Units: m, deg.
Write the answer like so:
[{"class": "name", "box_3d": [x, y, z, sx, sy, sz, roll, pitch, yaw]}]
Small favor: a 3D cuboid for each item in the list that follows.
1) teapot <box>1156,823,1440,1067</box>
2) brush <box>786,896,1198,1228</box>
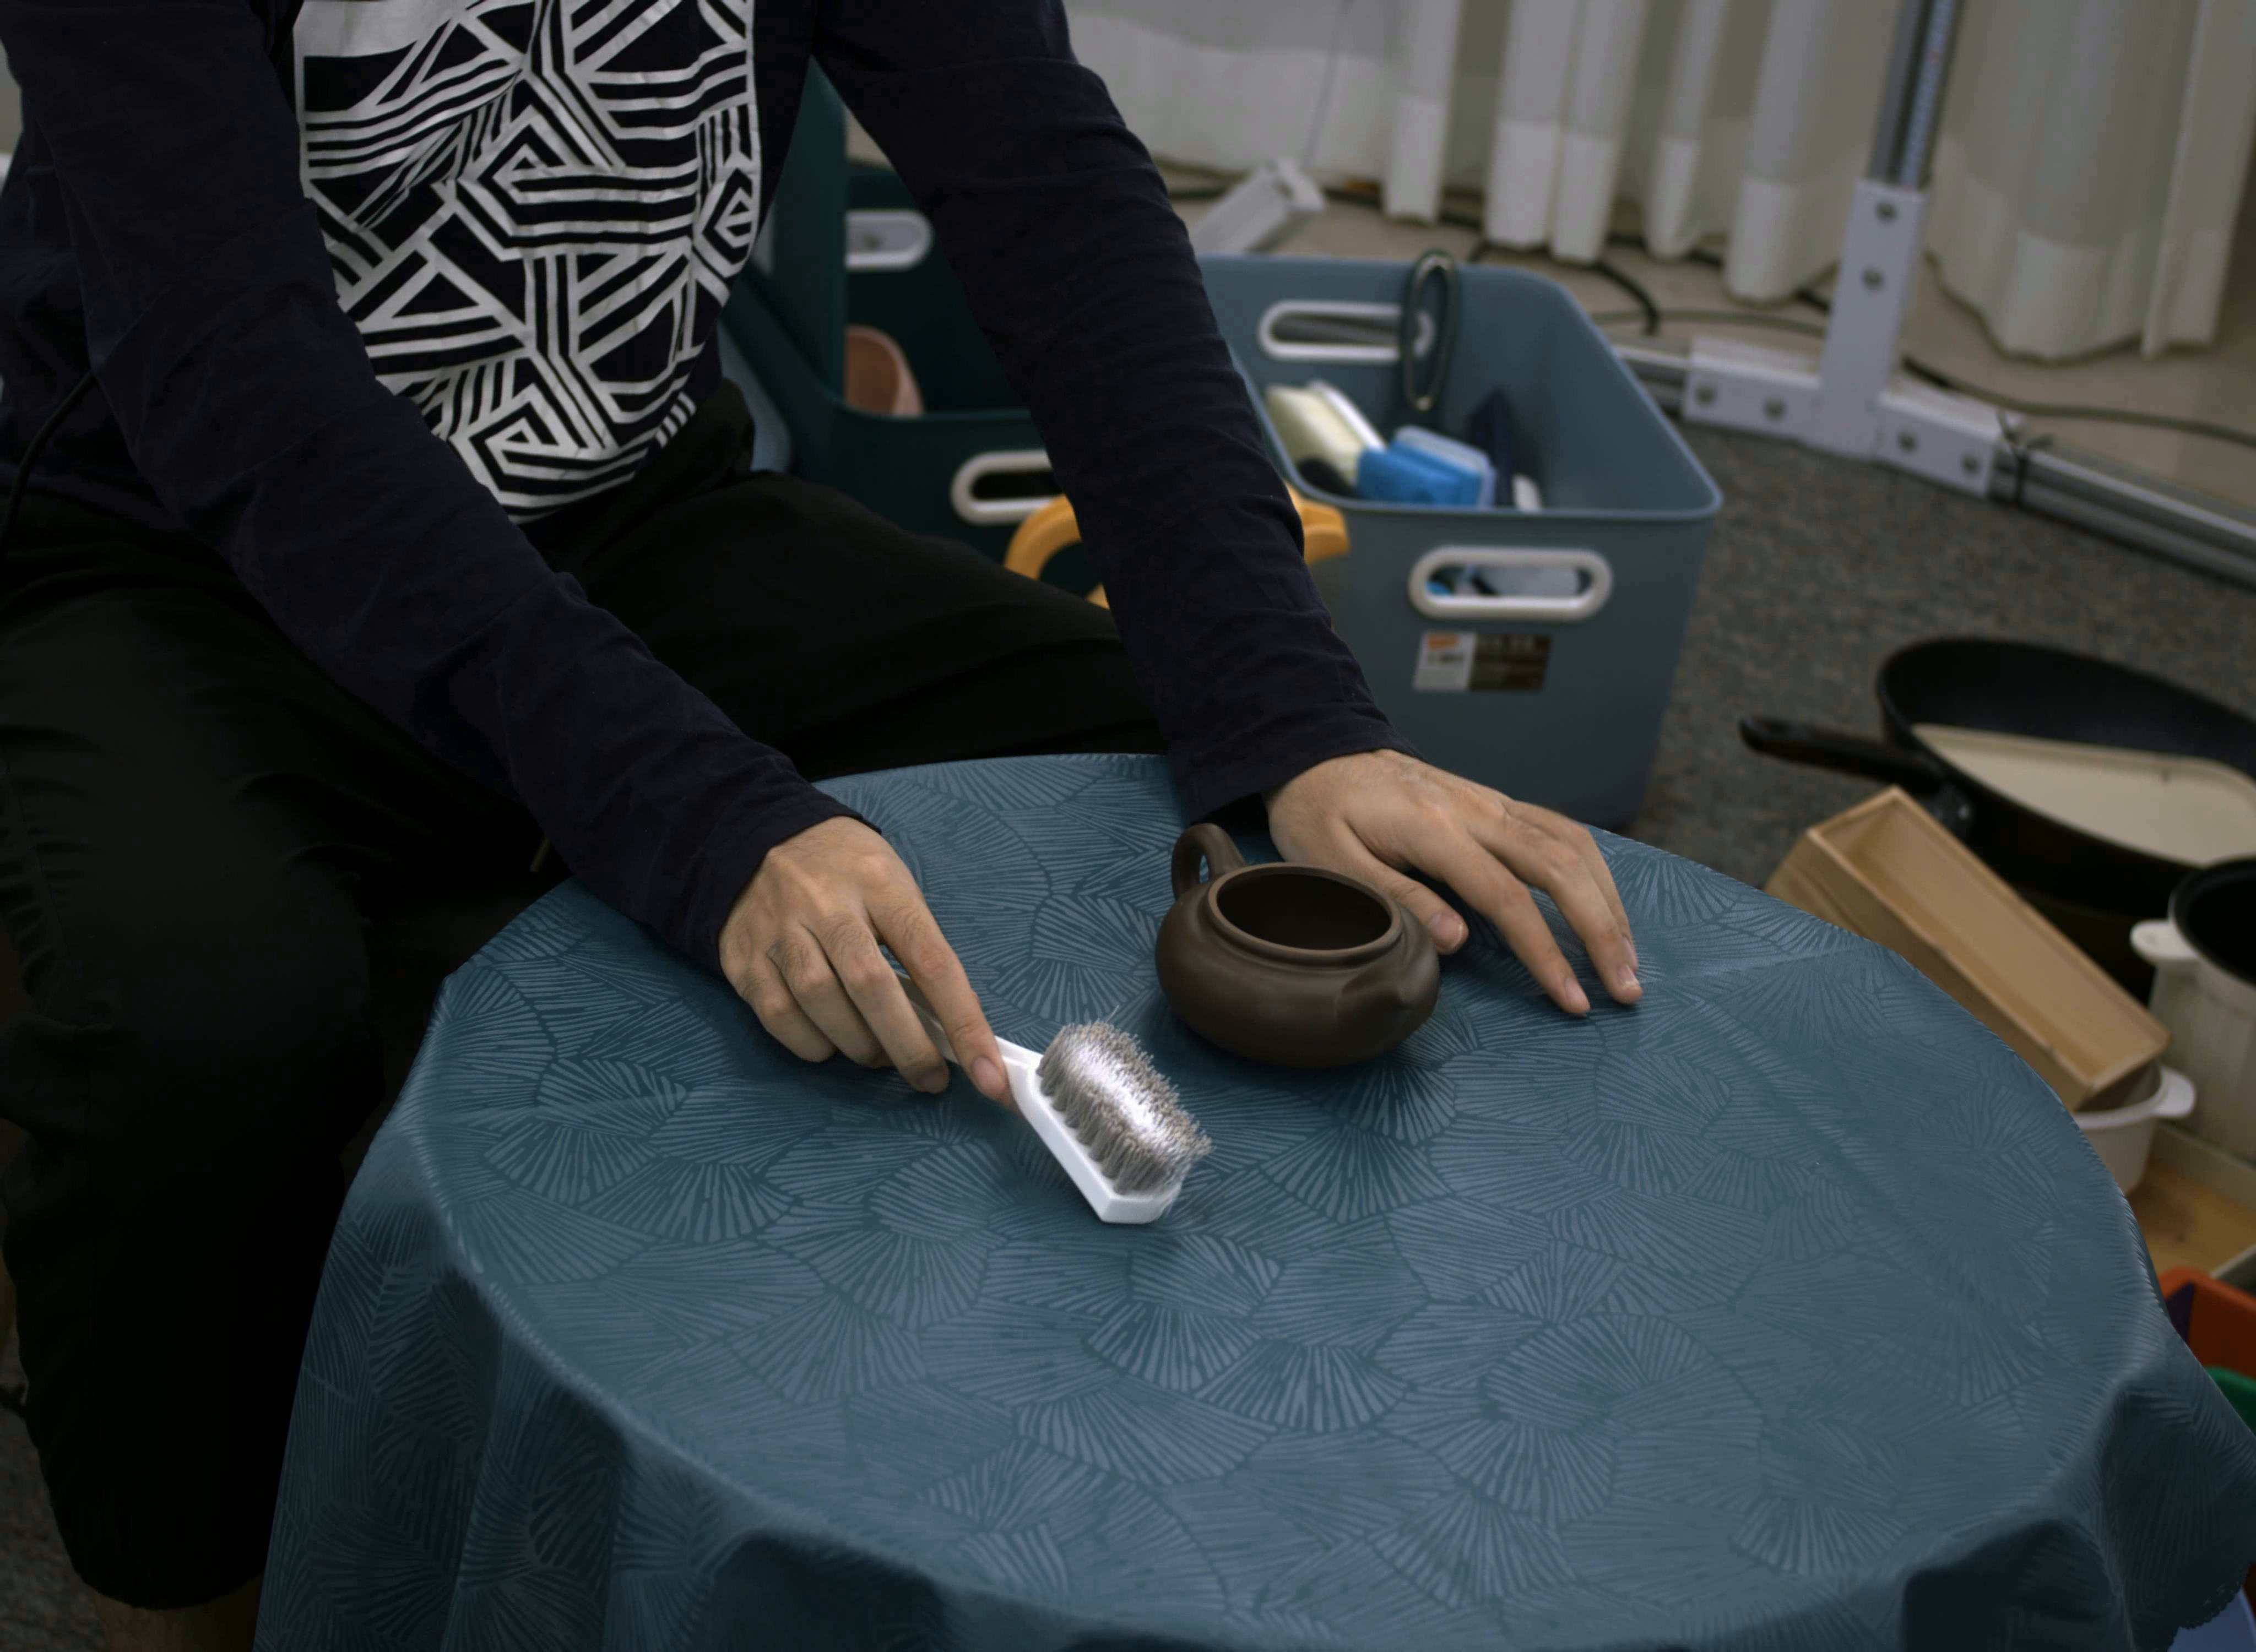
[{"class": "teapot", "box_3d": [0.058, 0.046, 1.912, 0.102, 0.053, 0.155, -13, 33, -34]}, {"class": "brush", "box_3d": [-0.053, 0.065, 1.858, 0.034, 0.050, 0.246, -13, 33, -30]}]
